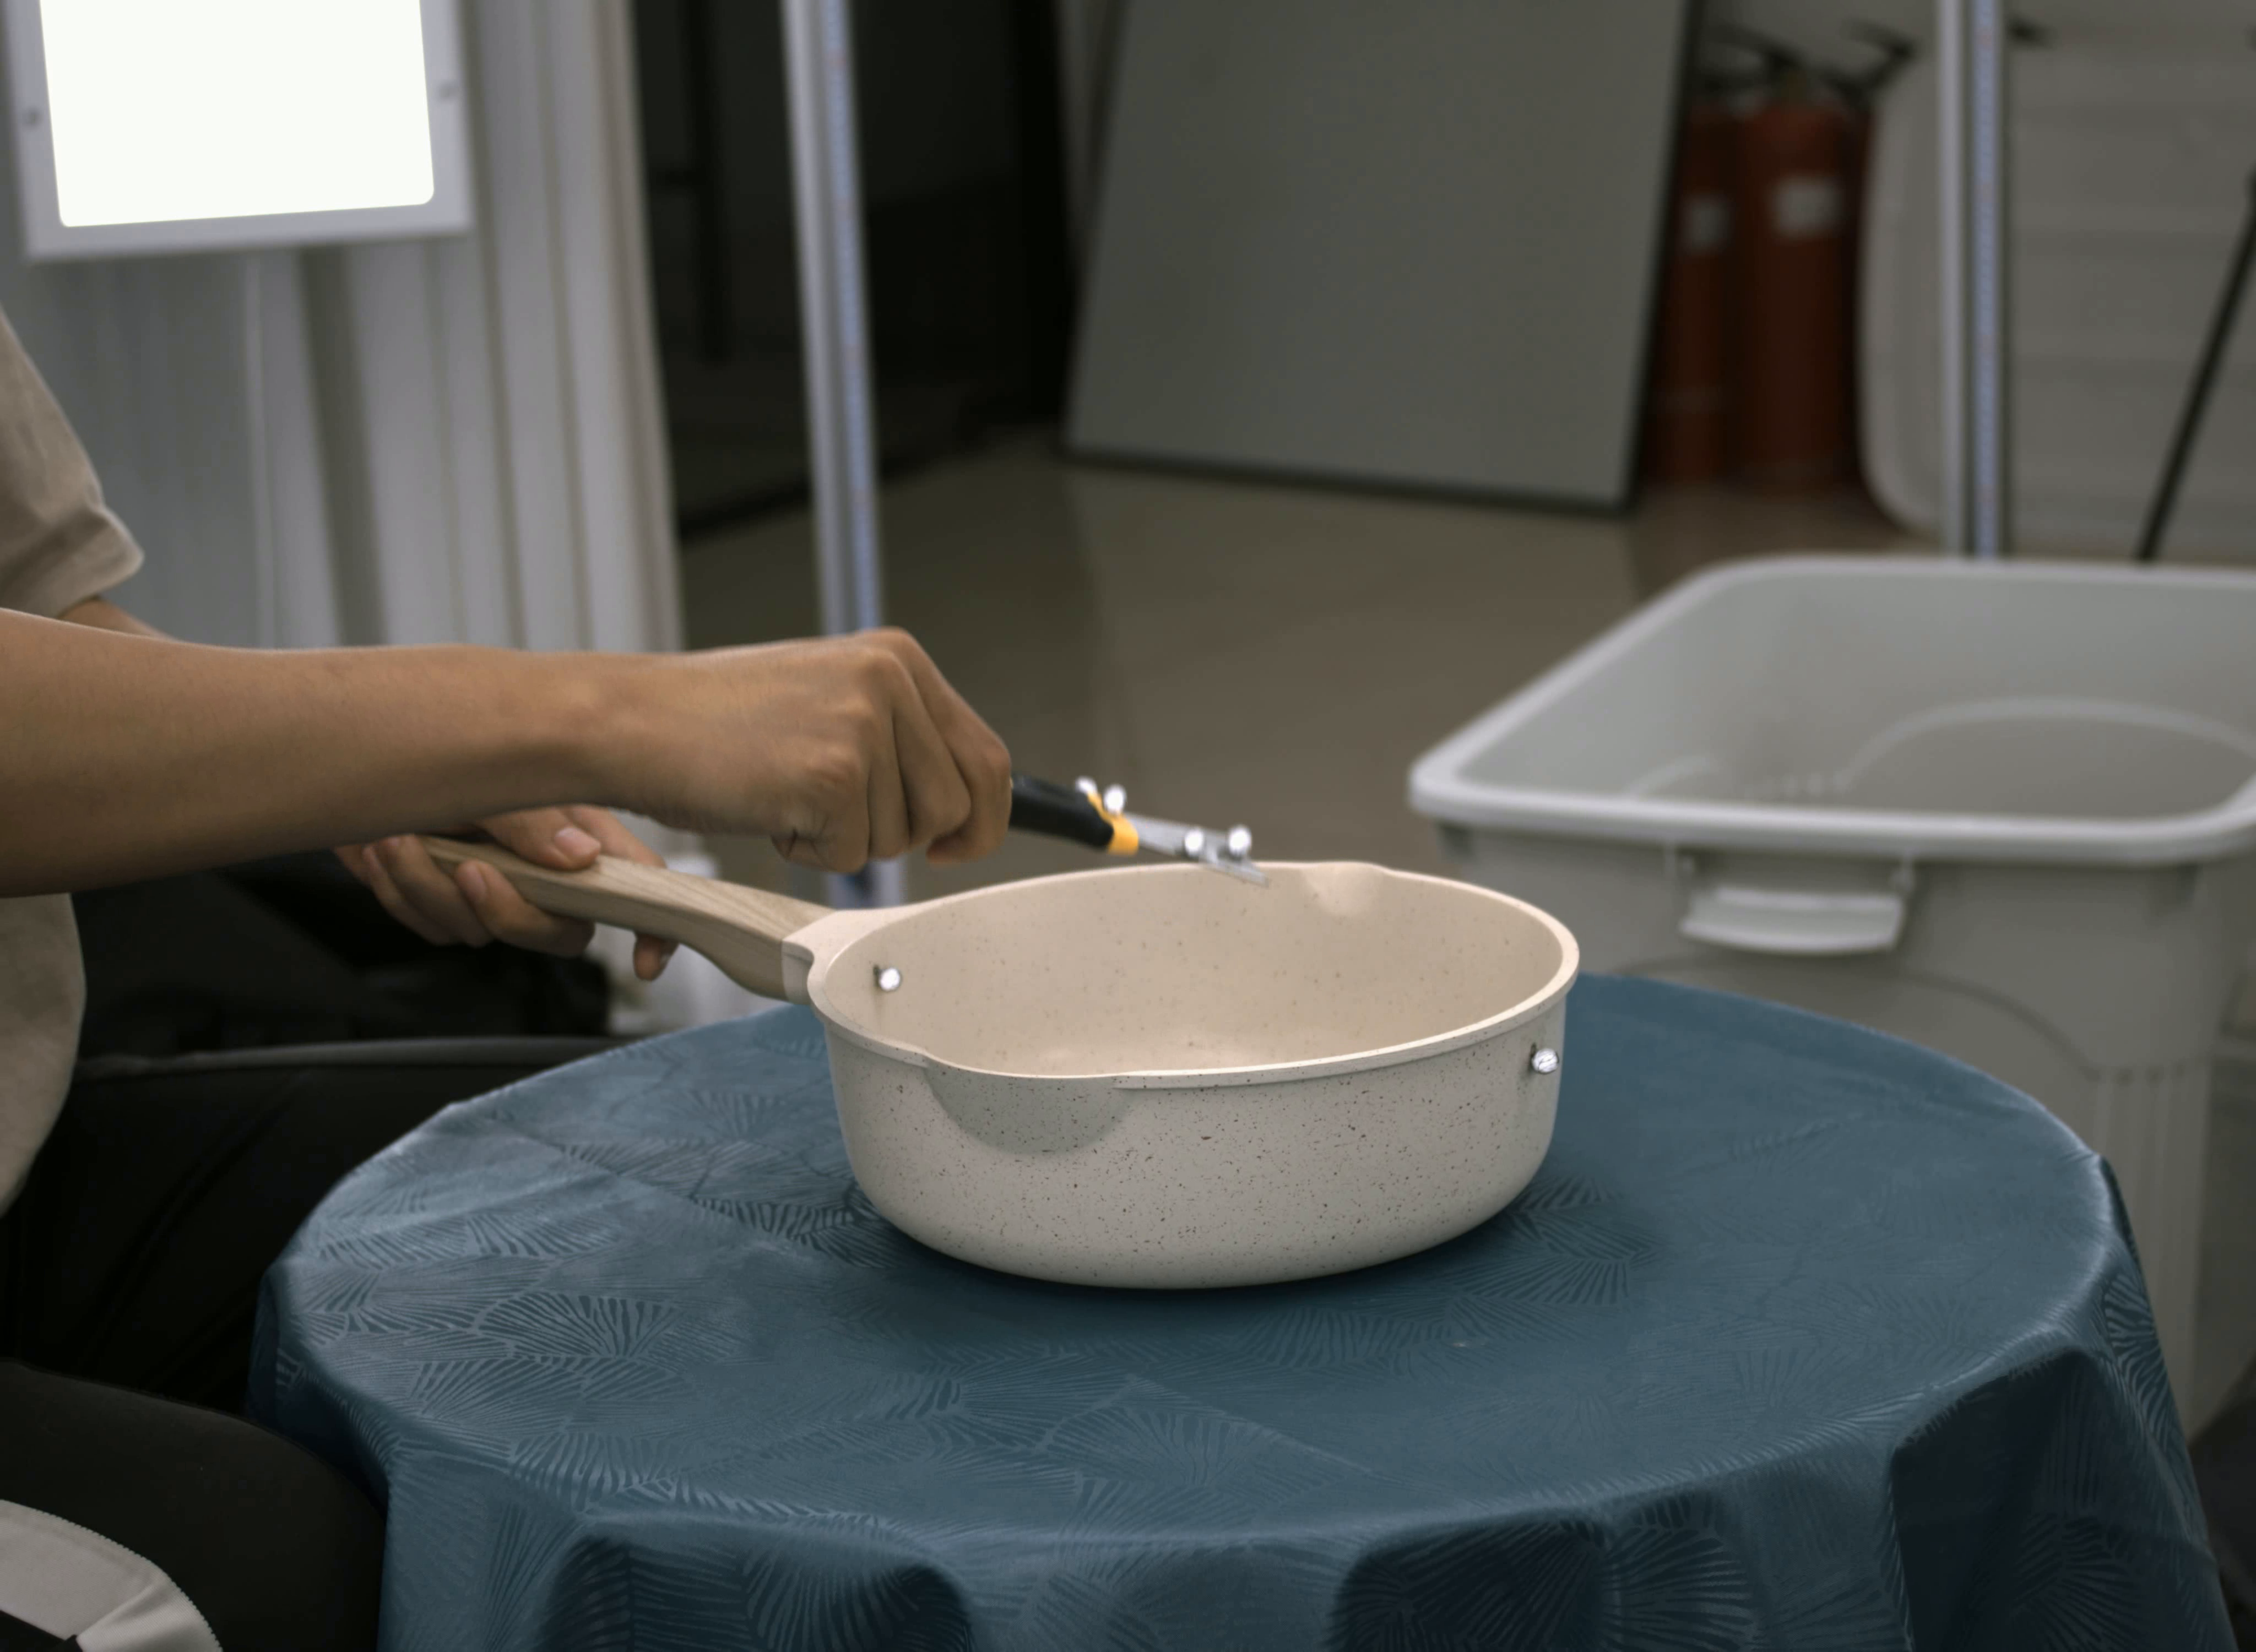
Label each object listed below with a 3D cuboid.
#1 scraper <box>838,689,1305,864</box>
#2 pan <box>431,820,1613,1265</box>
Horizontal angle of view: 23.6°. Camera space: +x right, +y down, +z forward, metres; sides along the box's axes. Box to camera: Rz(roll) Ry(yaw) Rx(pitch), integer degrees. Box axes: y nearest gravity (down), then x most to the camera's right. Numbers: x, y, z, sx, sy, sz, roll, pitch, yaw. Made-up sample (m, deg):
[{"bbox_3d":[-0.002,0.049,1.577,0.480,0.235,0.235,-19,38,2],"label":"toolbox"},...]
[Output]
[{"bbox_3d":[-0.017,-0.015,1.719,0.167,0.015,0.039,15,25,-28],"label":"scraper"},{"bbox_3d":[-0.044,0.061,1.811,0.436,0.103,0.260,3,18,28],"label":"pan"}]
